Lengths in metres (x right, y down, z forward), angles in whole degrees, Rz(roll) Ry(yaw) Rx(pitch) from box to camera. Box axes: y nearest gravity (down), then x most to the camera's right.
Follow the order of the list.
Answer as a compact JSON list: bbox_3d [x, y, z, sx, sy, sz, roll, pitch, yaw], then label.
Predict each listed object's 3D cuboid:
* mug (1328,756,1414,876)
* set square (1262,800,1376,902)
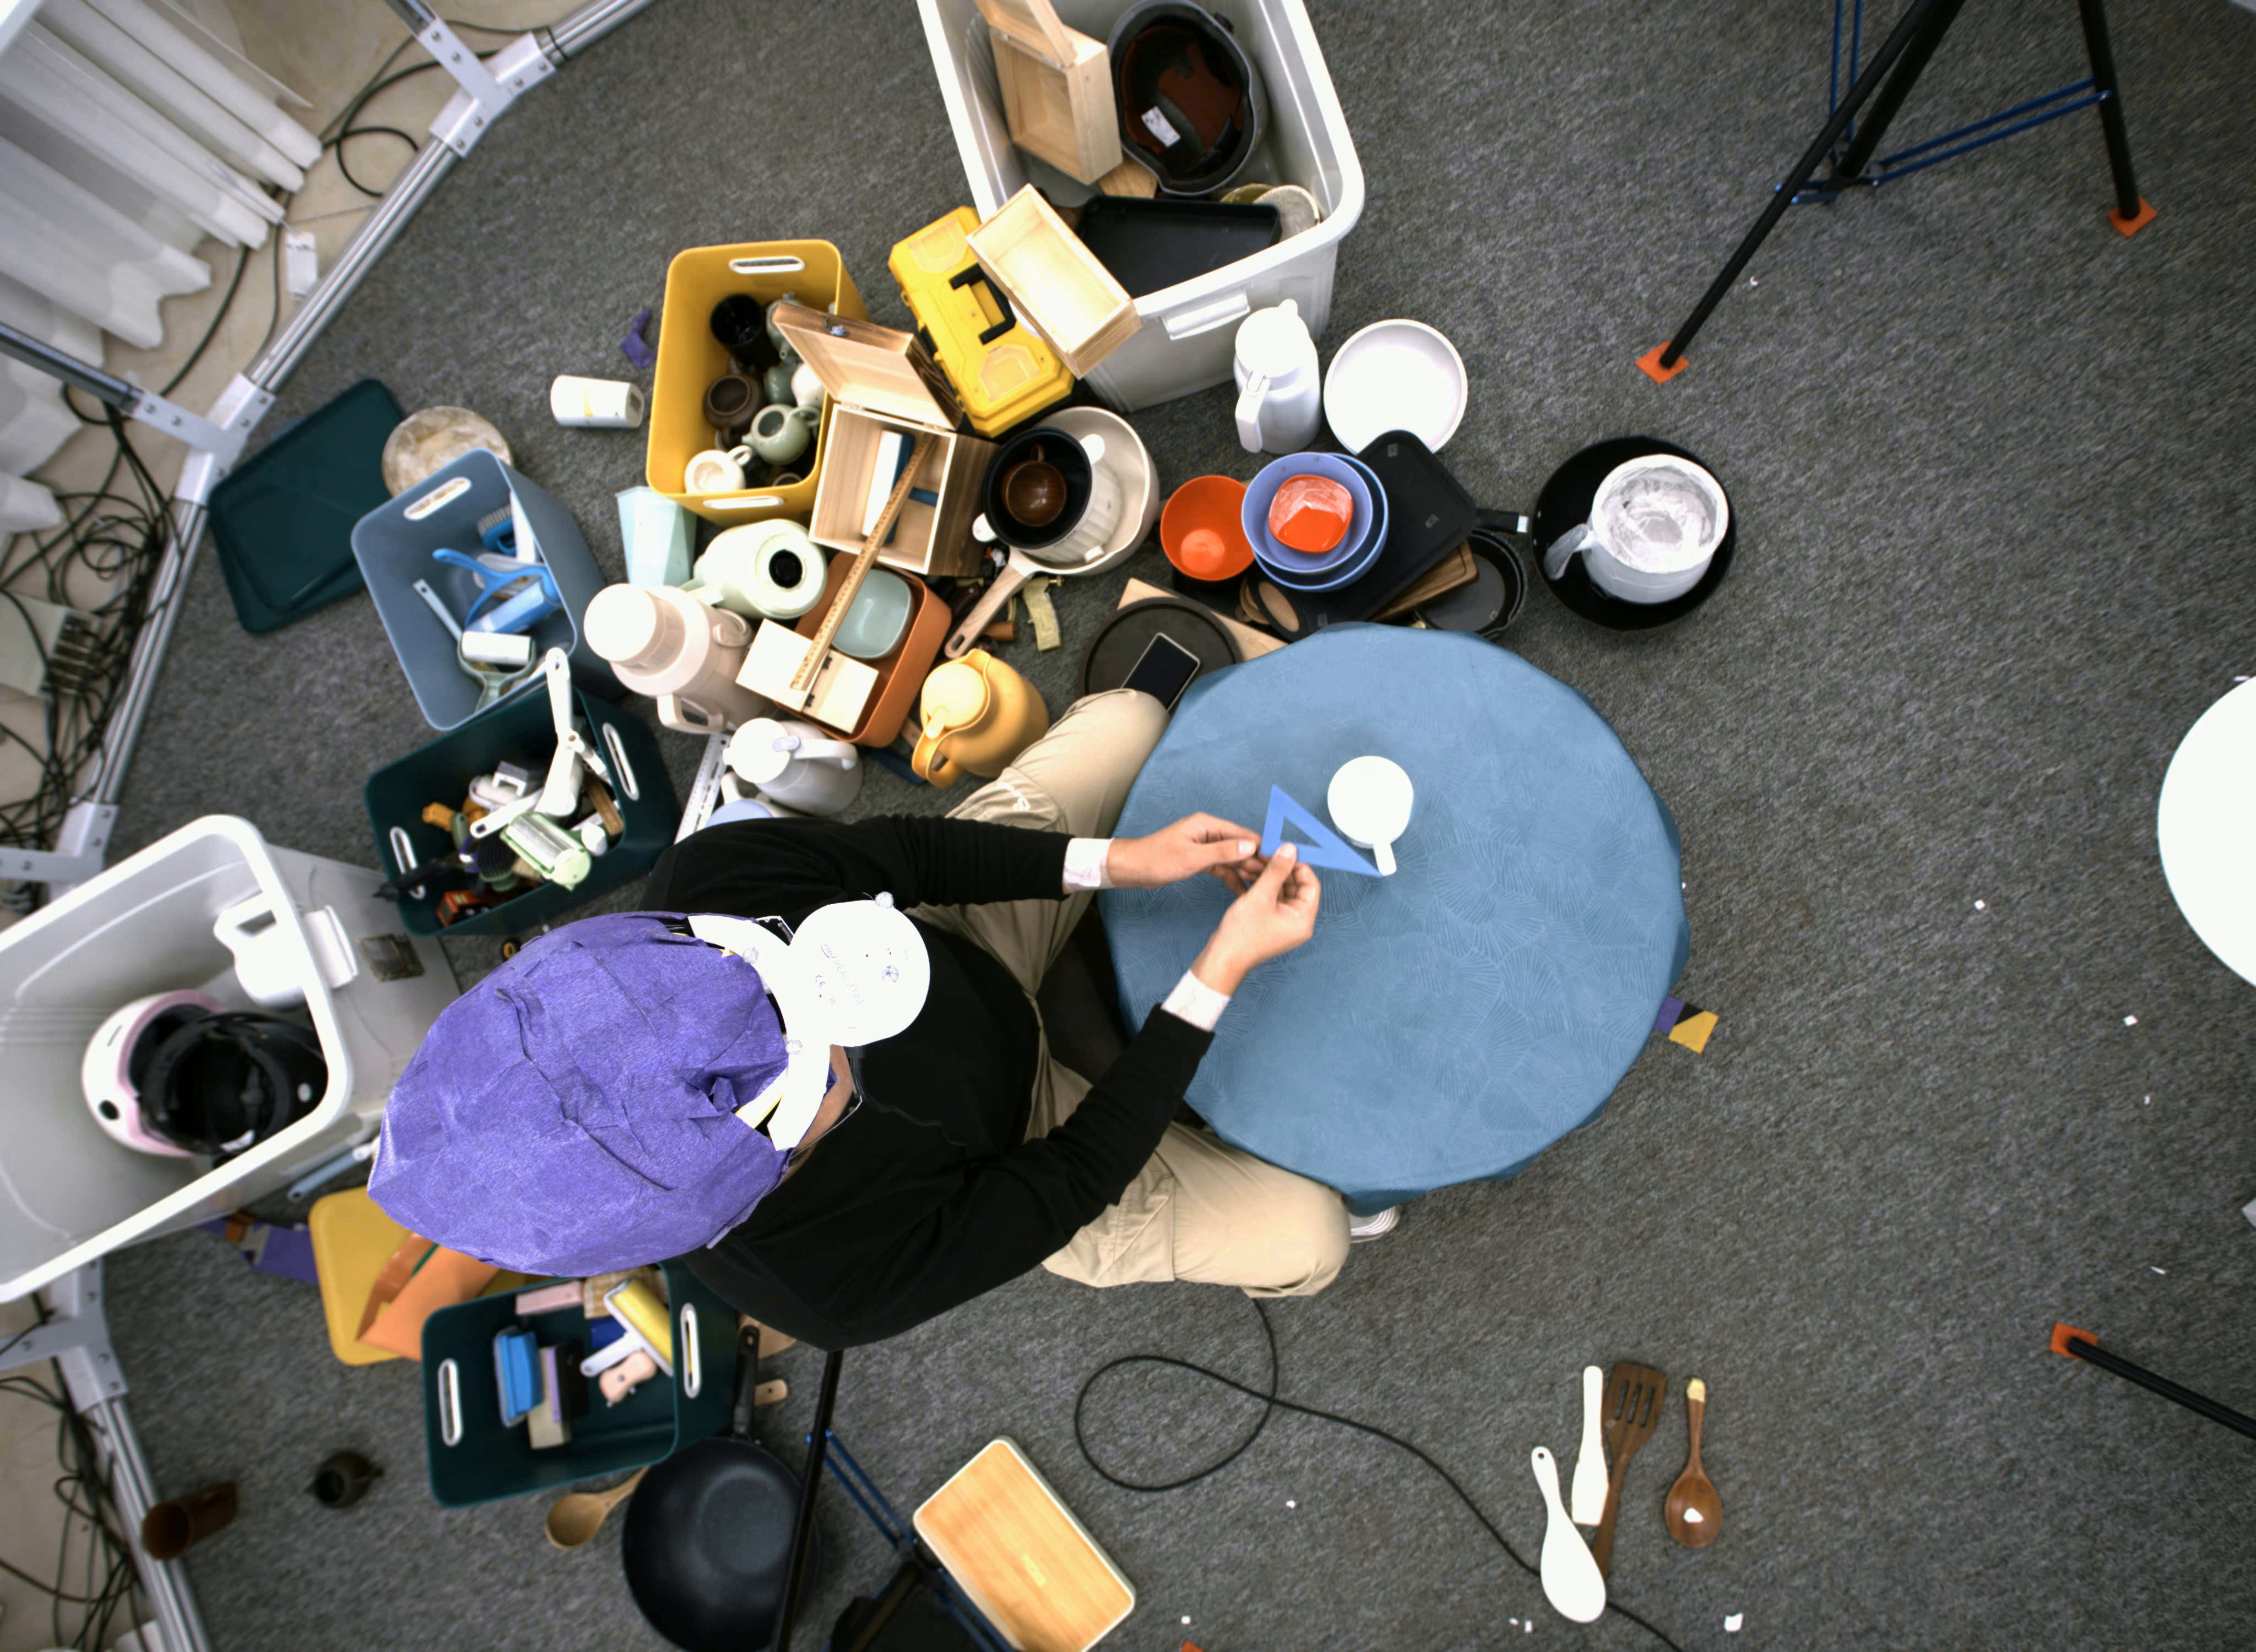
[{"bbox_3d":[0.253,-0.008,1.416,0.085,0.102,0.117,-14,83,8],"label":"mug"},{"bbox_3d":[0.177,0.038,1.345,0.131,0.006,0.061,45,93,7],"label":"set square"}]
